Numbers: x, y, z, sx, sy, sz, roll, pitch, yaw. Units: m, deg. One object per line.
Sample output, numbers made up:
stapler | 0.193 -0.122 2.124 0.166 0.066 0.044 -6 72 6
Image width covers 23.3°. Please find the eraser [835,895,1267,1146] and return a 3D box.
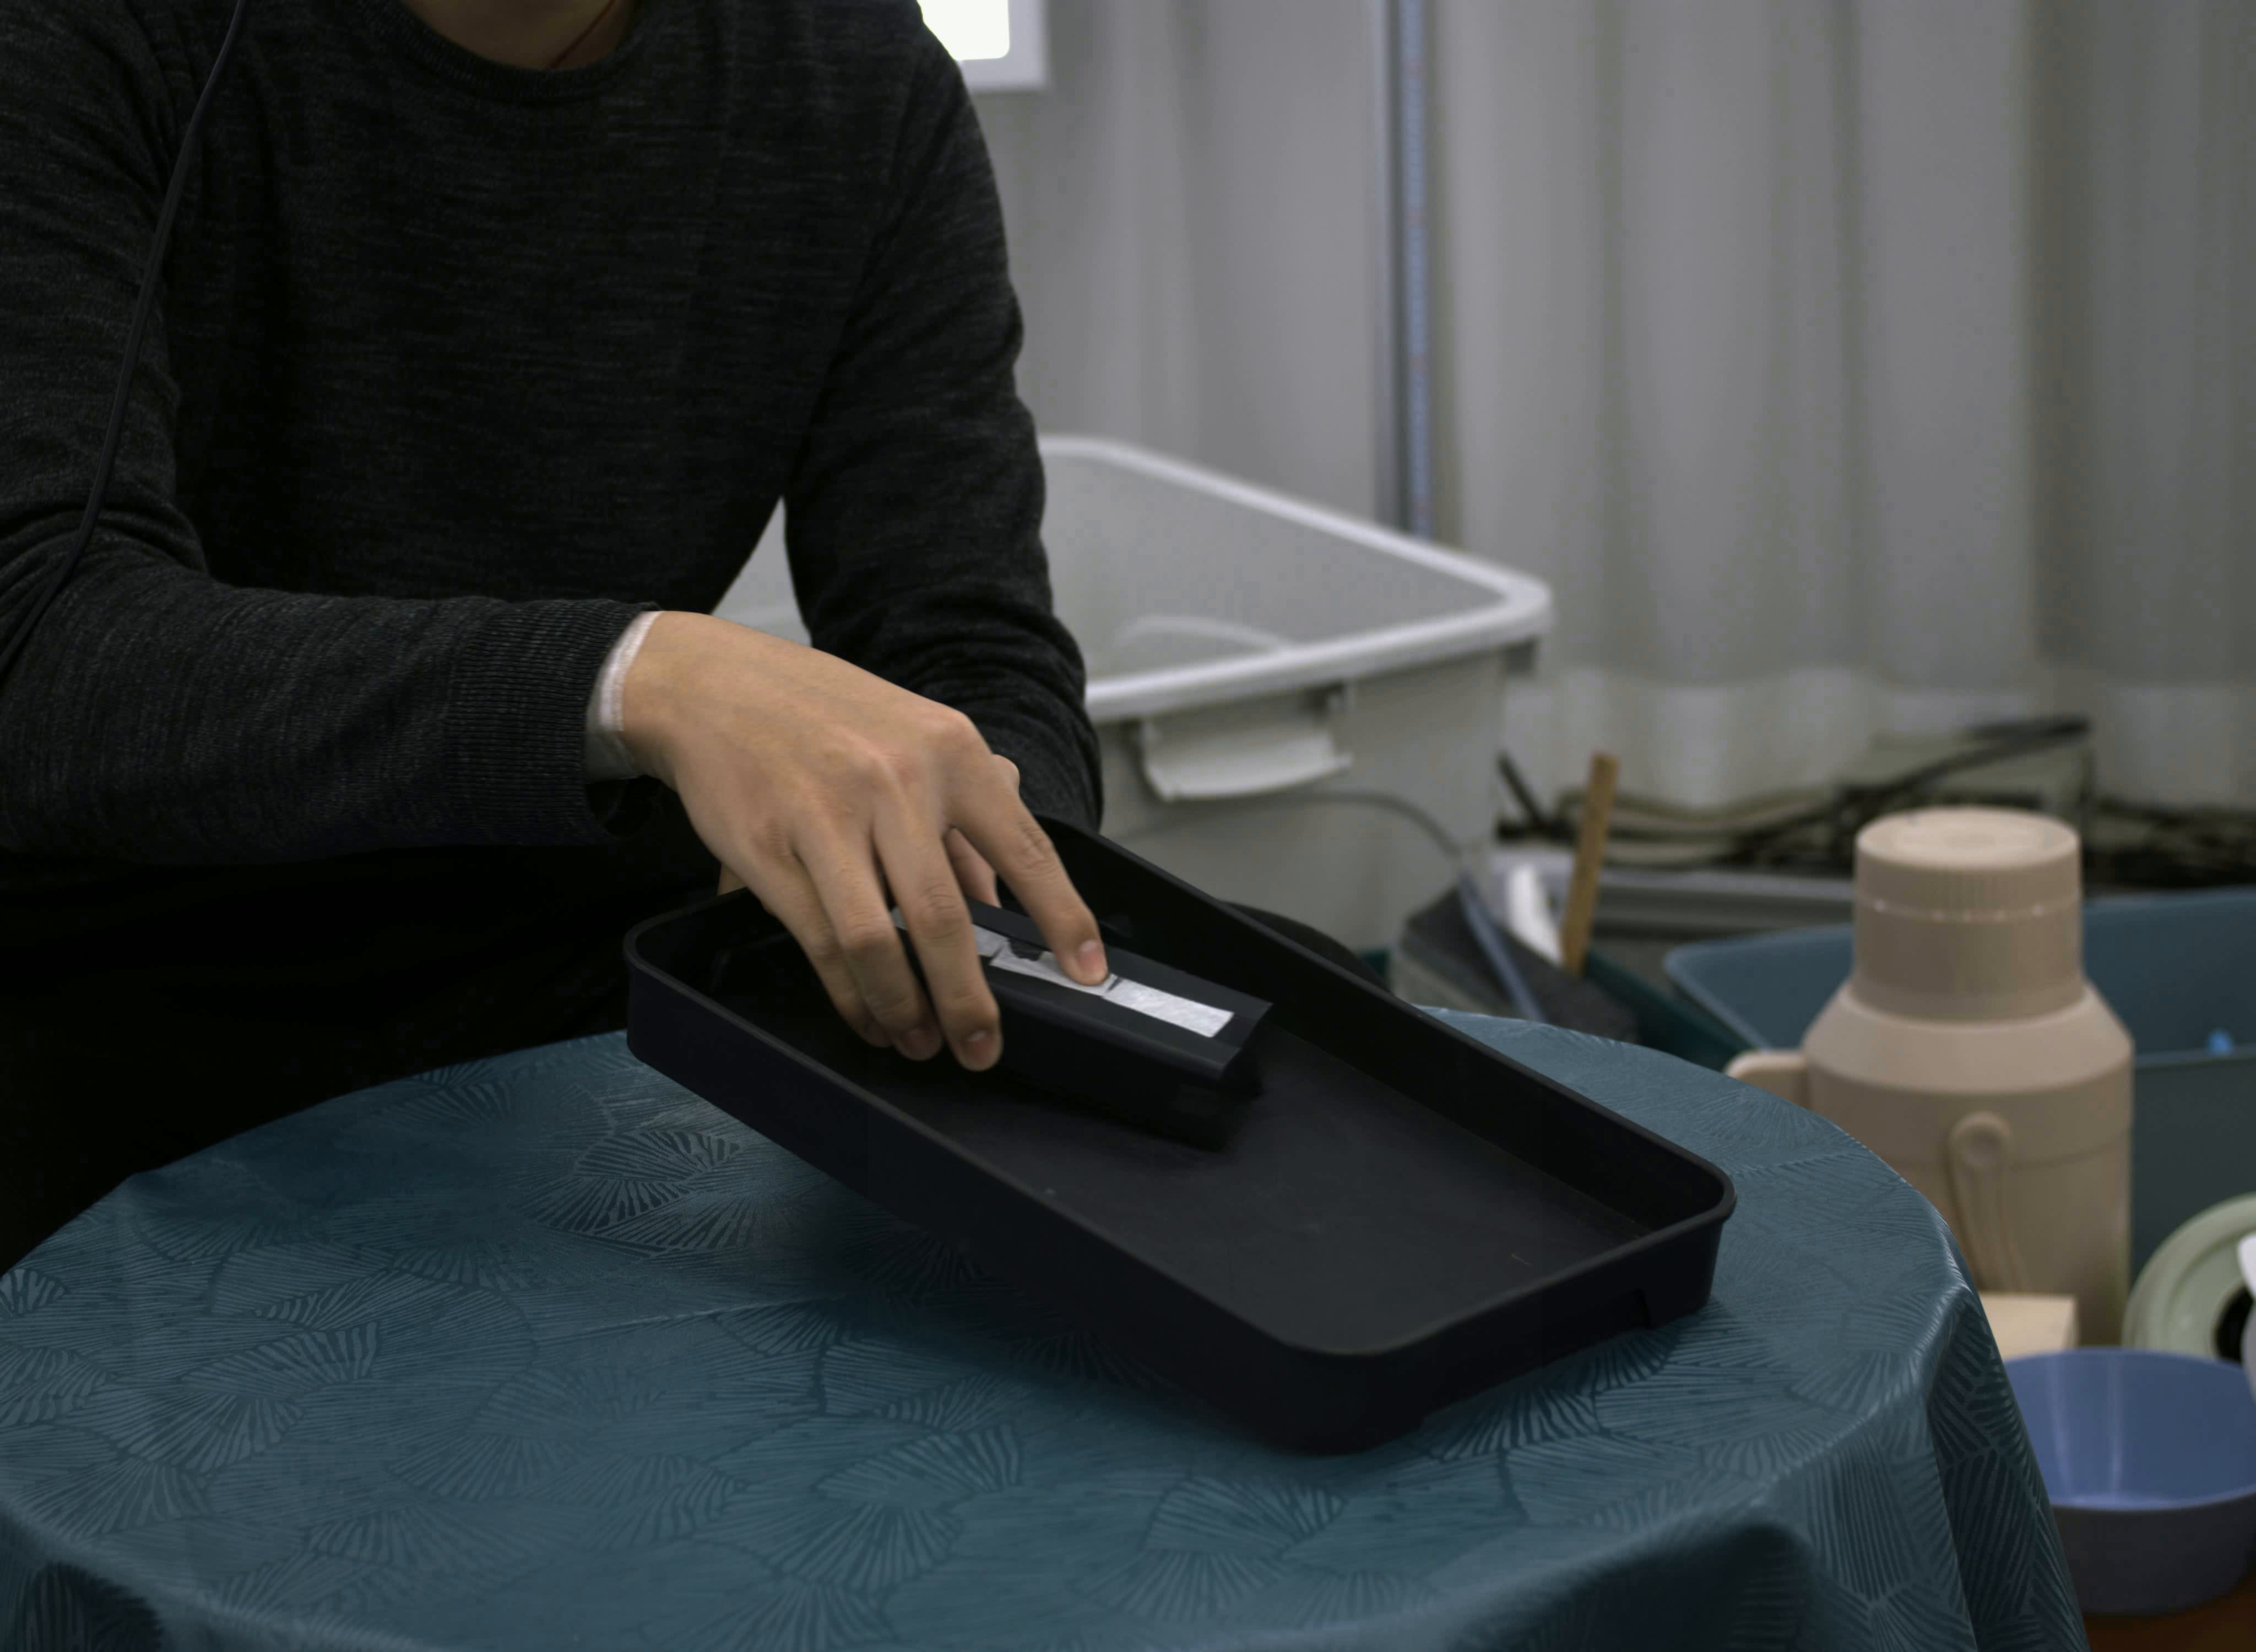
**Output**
eraser | -0.023 0.058 1.664 0.126 0.030 0.054 18 26 14

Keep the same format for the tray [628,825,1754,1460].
tray | 0.013 0.087 1.626 0.320 0.037 0.184 26 30 39
